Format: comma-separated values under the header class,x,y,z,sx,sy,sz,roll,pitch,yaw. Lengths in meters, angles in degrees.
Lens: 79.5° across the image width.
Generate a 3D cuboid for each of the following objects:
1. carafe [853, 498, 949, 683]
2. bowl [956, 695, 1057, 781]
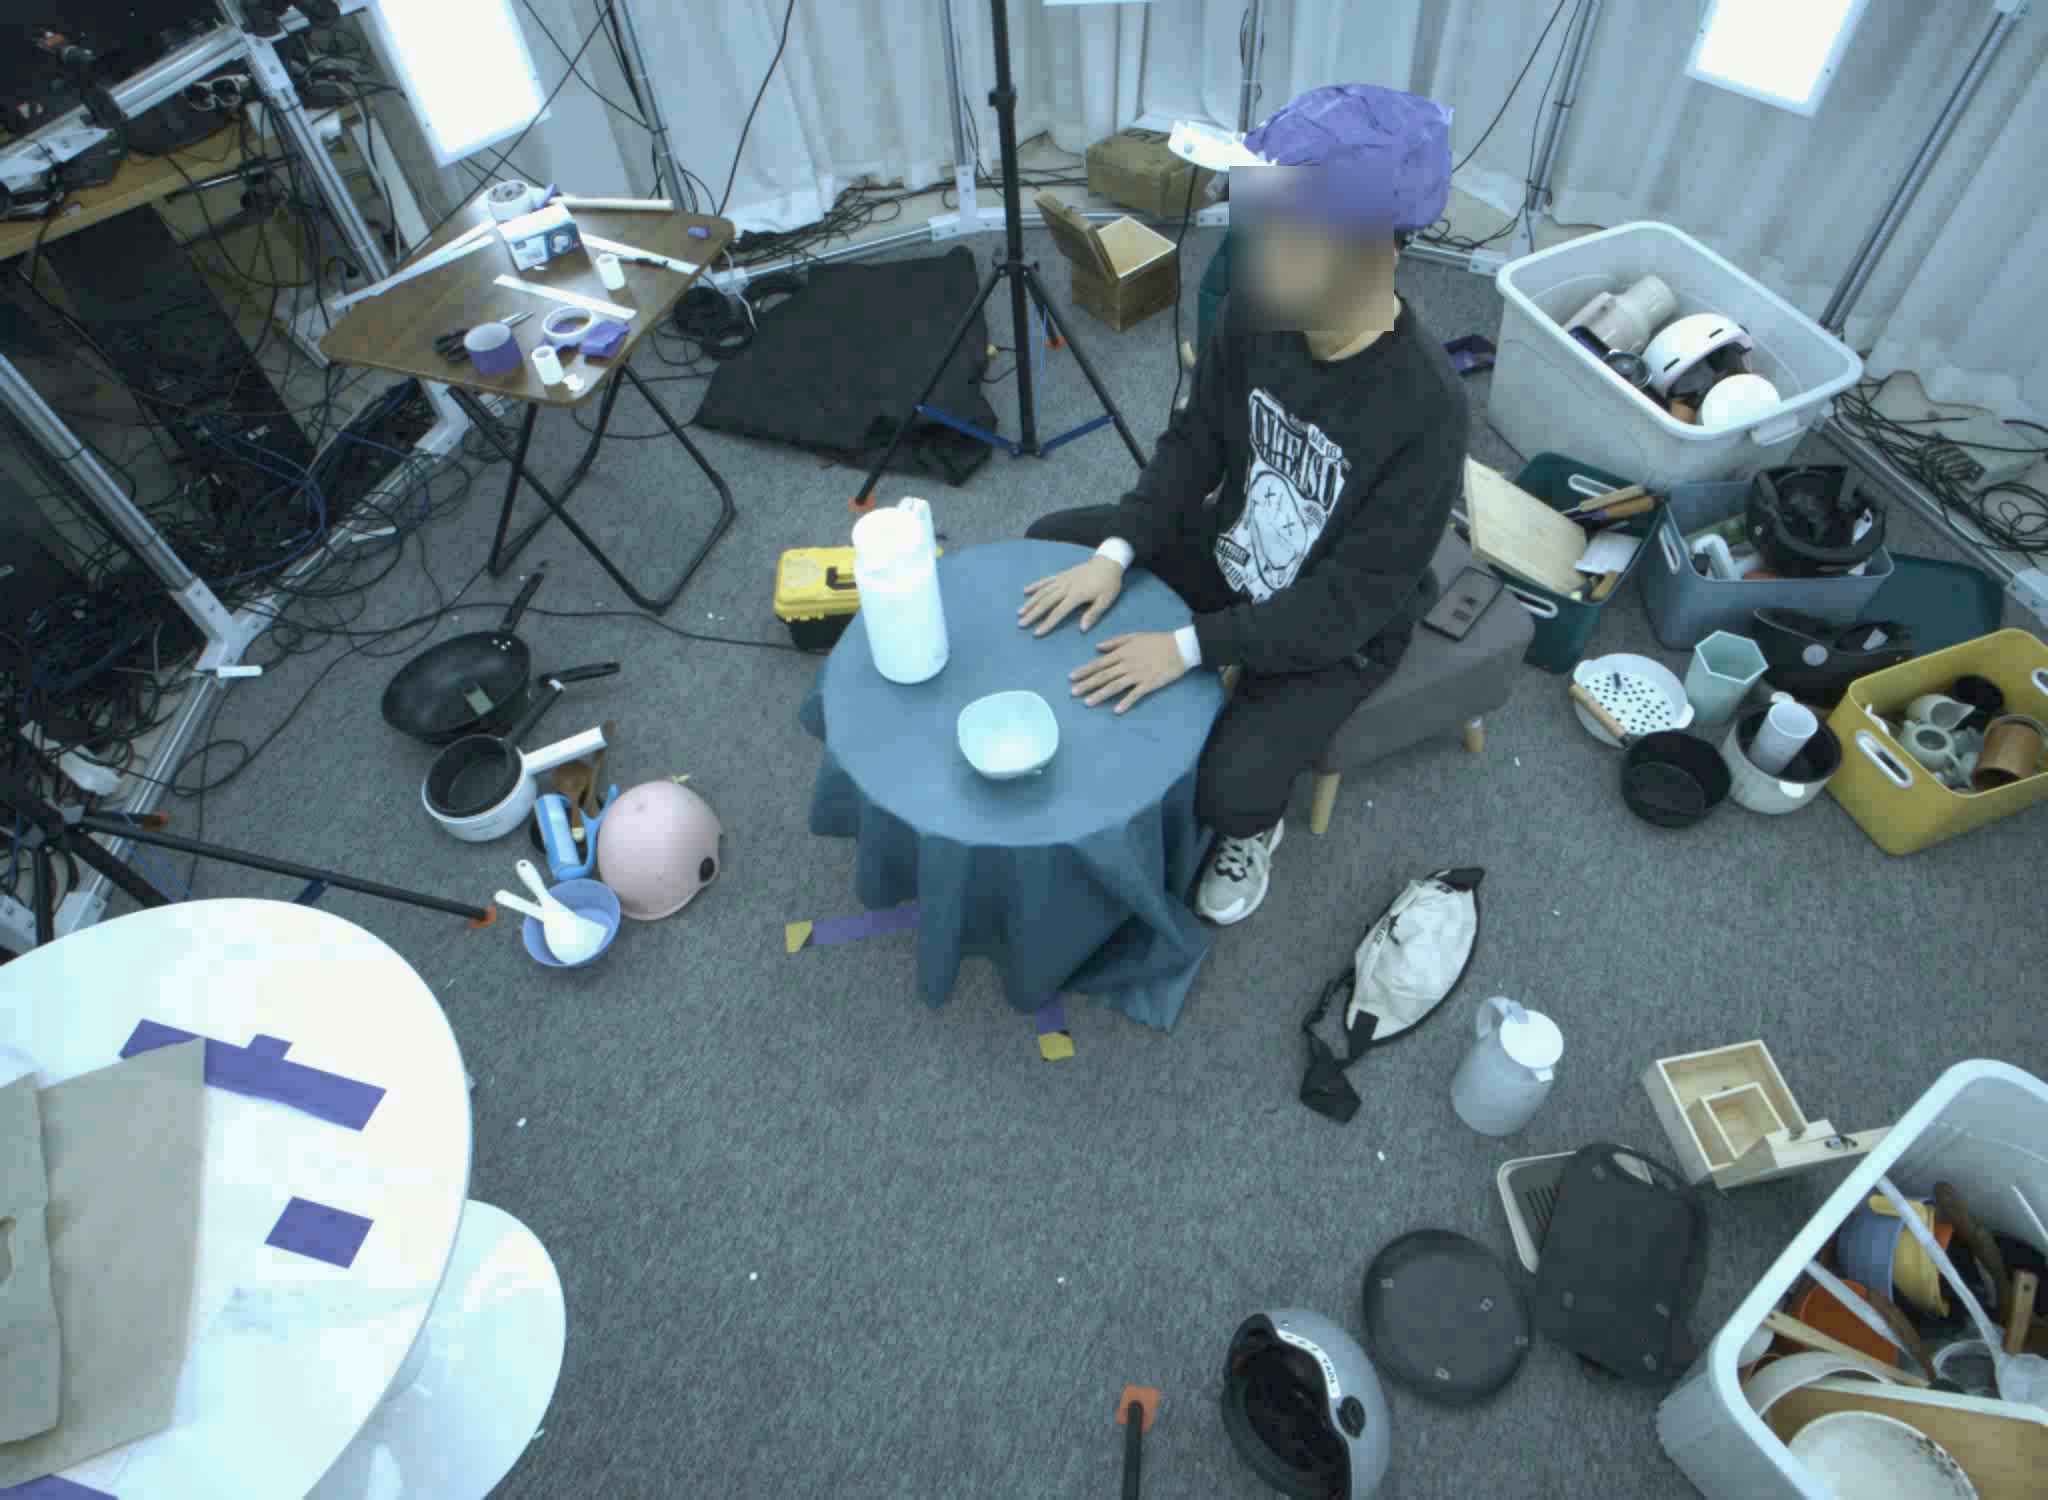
class,x,y,z,sx,sy,sz,roll,pitch,yaw
carafe,-0.177,-0.236,1.792,0.122,0.272,0.172,13,56,15
bowl,-0.026,-0.008,1.765,0.152,0.059,0.150,3,50,-3
